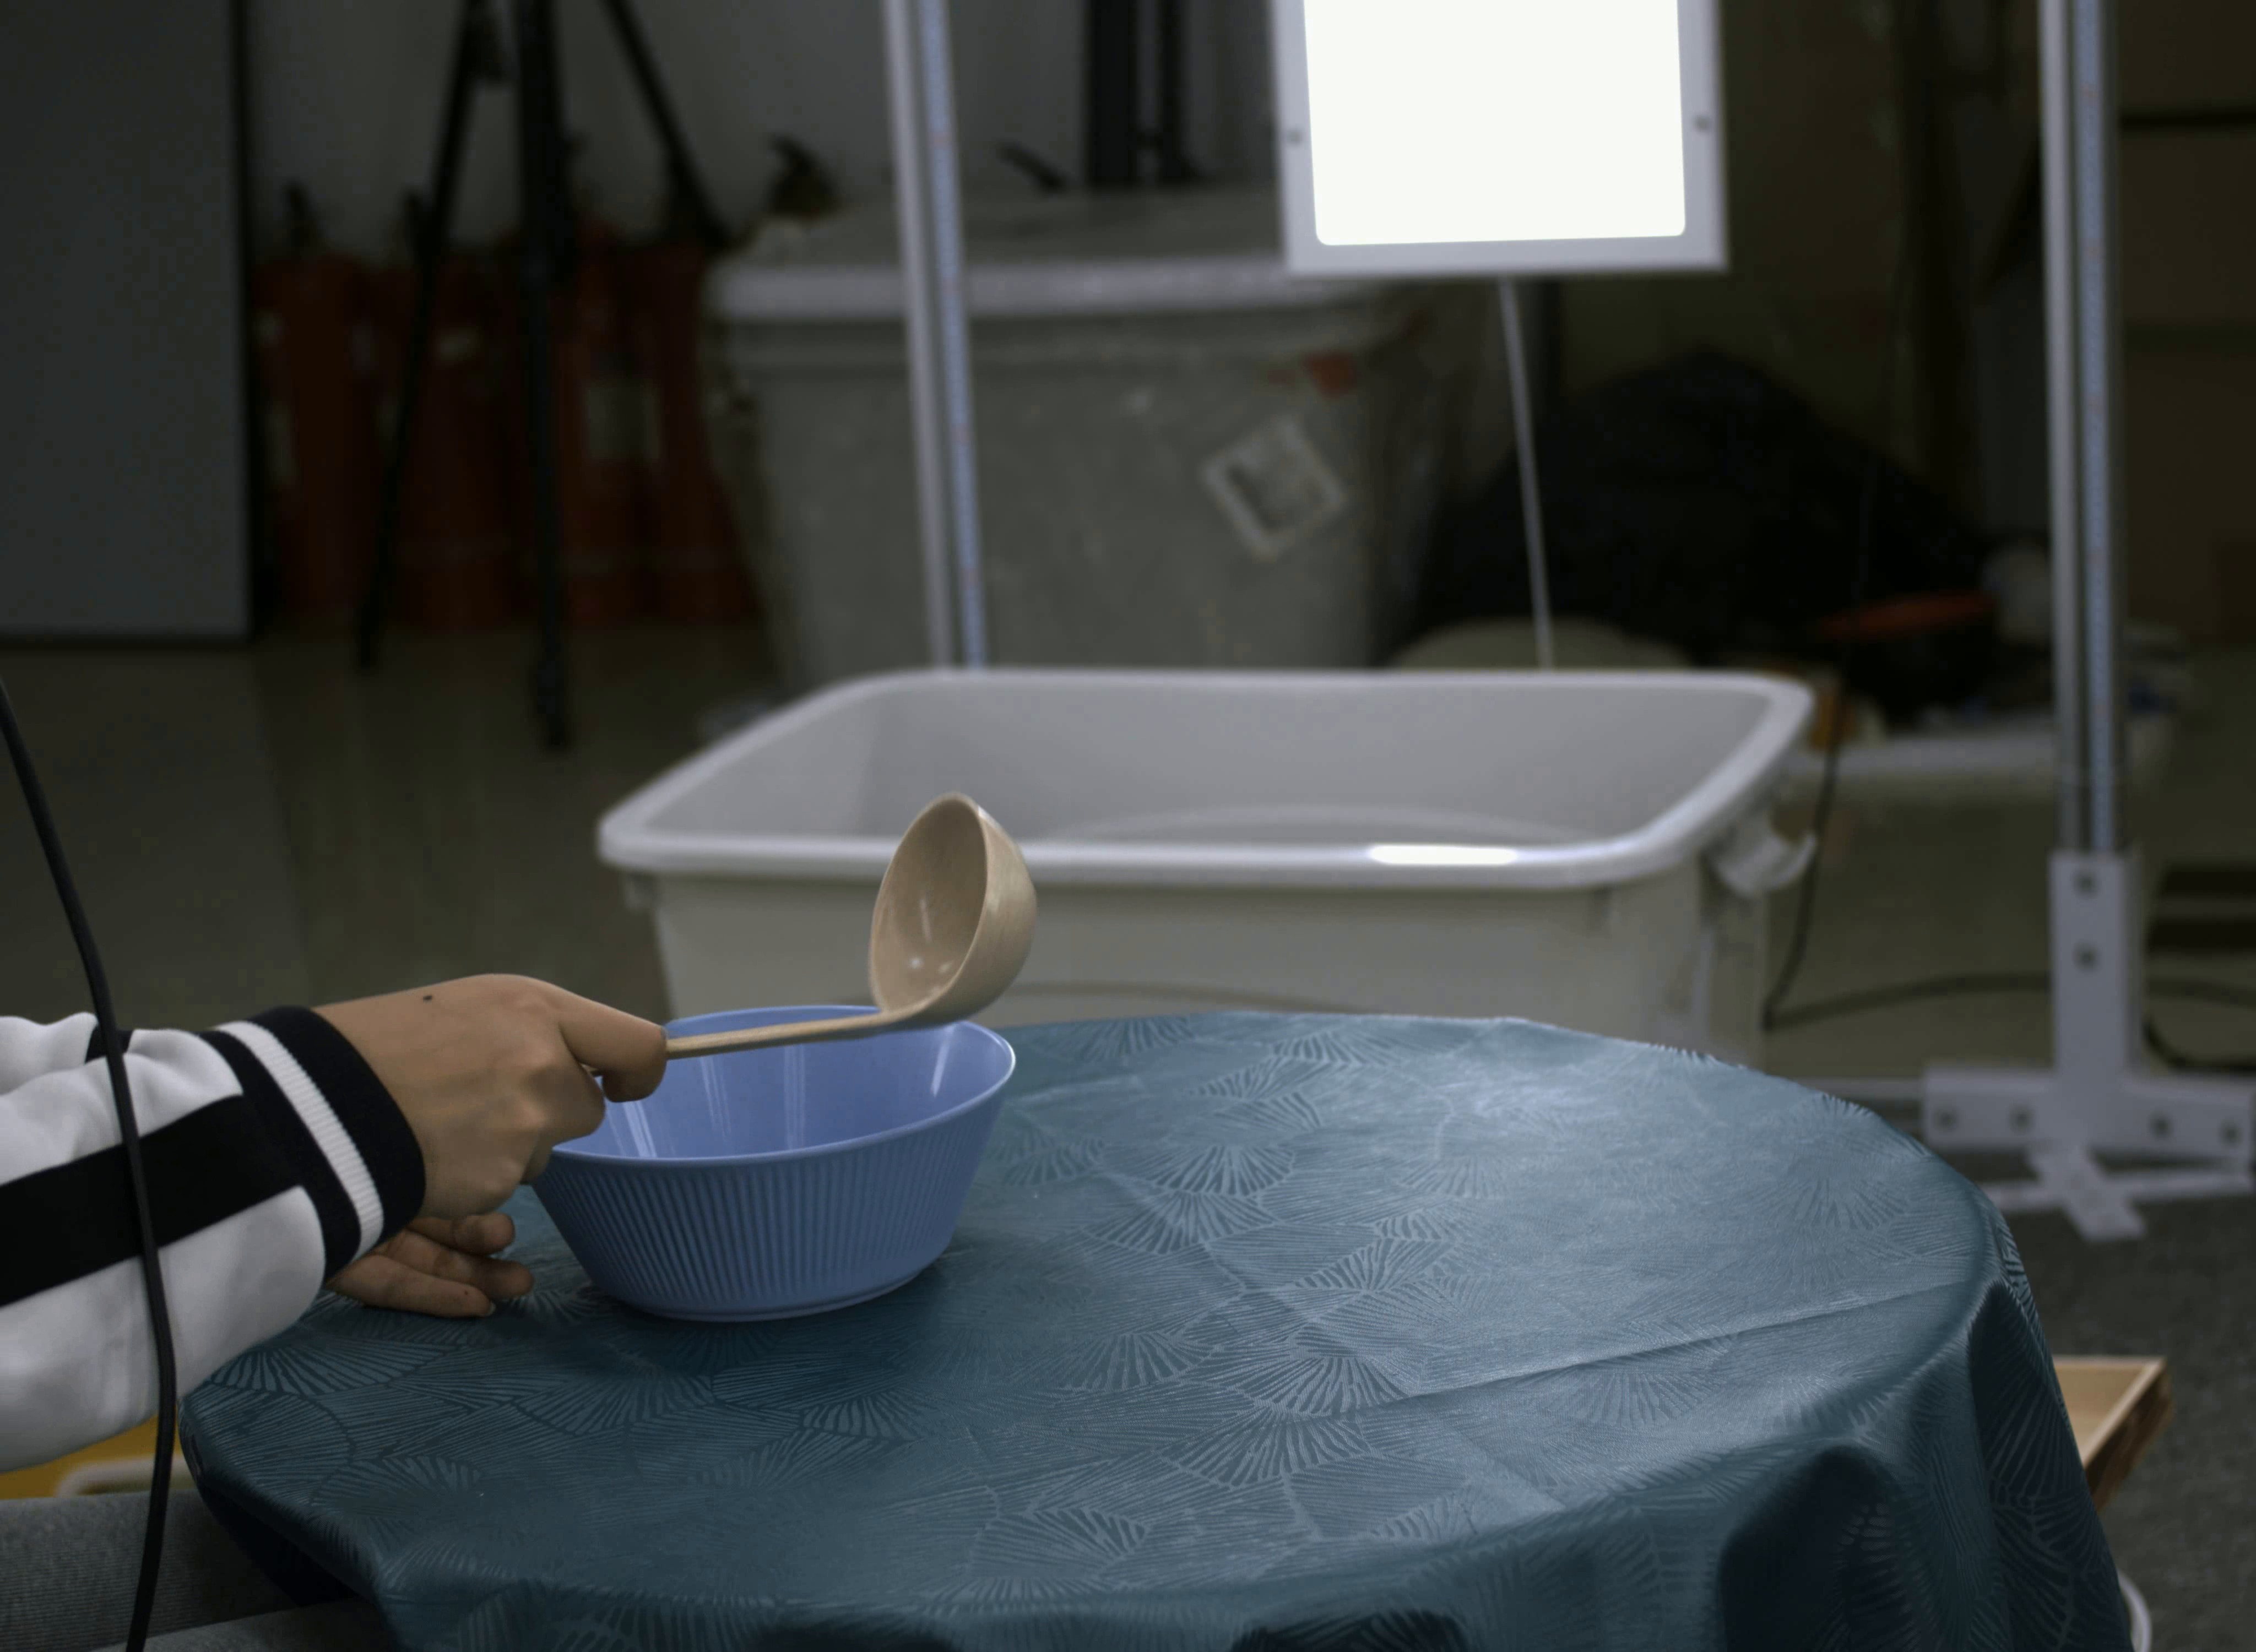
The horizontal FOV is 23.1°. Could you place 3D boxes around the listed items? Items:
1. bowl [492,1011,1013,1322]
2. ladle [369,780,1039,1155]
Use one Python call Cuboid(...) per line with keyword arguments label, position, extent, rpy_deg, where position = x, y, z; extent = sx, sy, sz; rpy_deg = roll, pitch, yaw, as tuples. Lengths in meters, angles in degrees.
Cuboid(label="bowl", position=(-0.122, 0.116, 1.839), extent=(0.175, 0.070, 0.176), rpy_deg=(-5, 13, 0))
Cuboid(label="ladle", position=(-0.135, 0.040, 1.682), extent=(0.248, 0.073, 0.074), rpy_deg=(-13, -12, -38))
